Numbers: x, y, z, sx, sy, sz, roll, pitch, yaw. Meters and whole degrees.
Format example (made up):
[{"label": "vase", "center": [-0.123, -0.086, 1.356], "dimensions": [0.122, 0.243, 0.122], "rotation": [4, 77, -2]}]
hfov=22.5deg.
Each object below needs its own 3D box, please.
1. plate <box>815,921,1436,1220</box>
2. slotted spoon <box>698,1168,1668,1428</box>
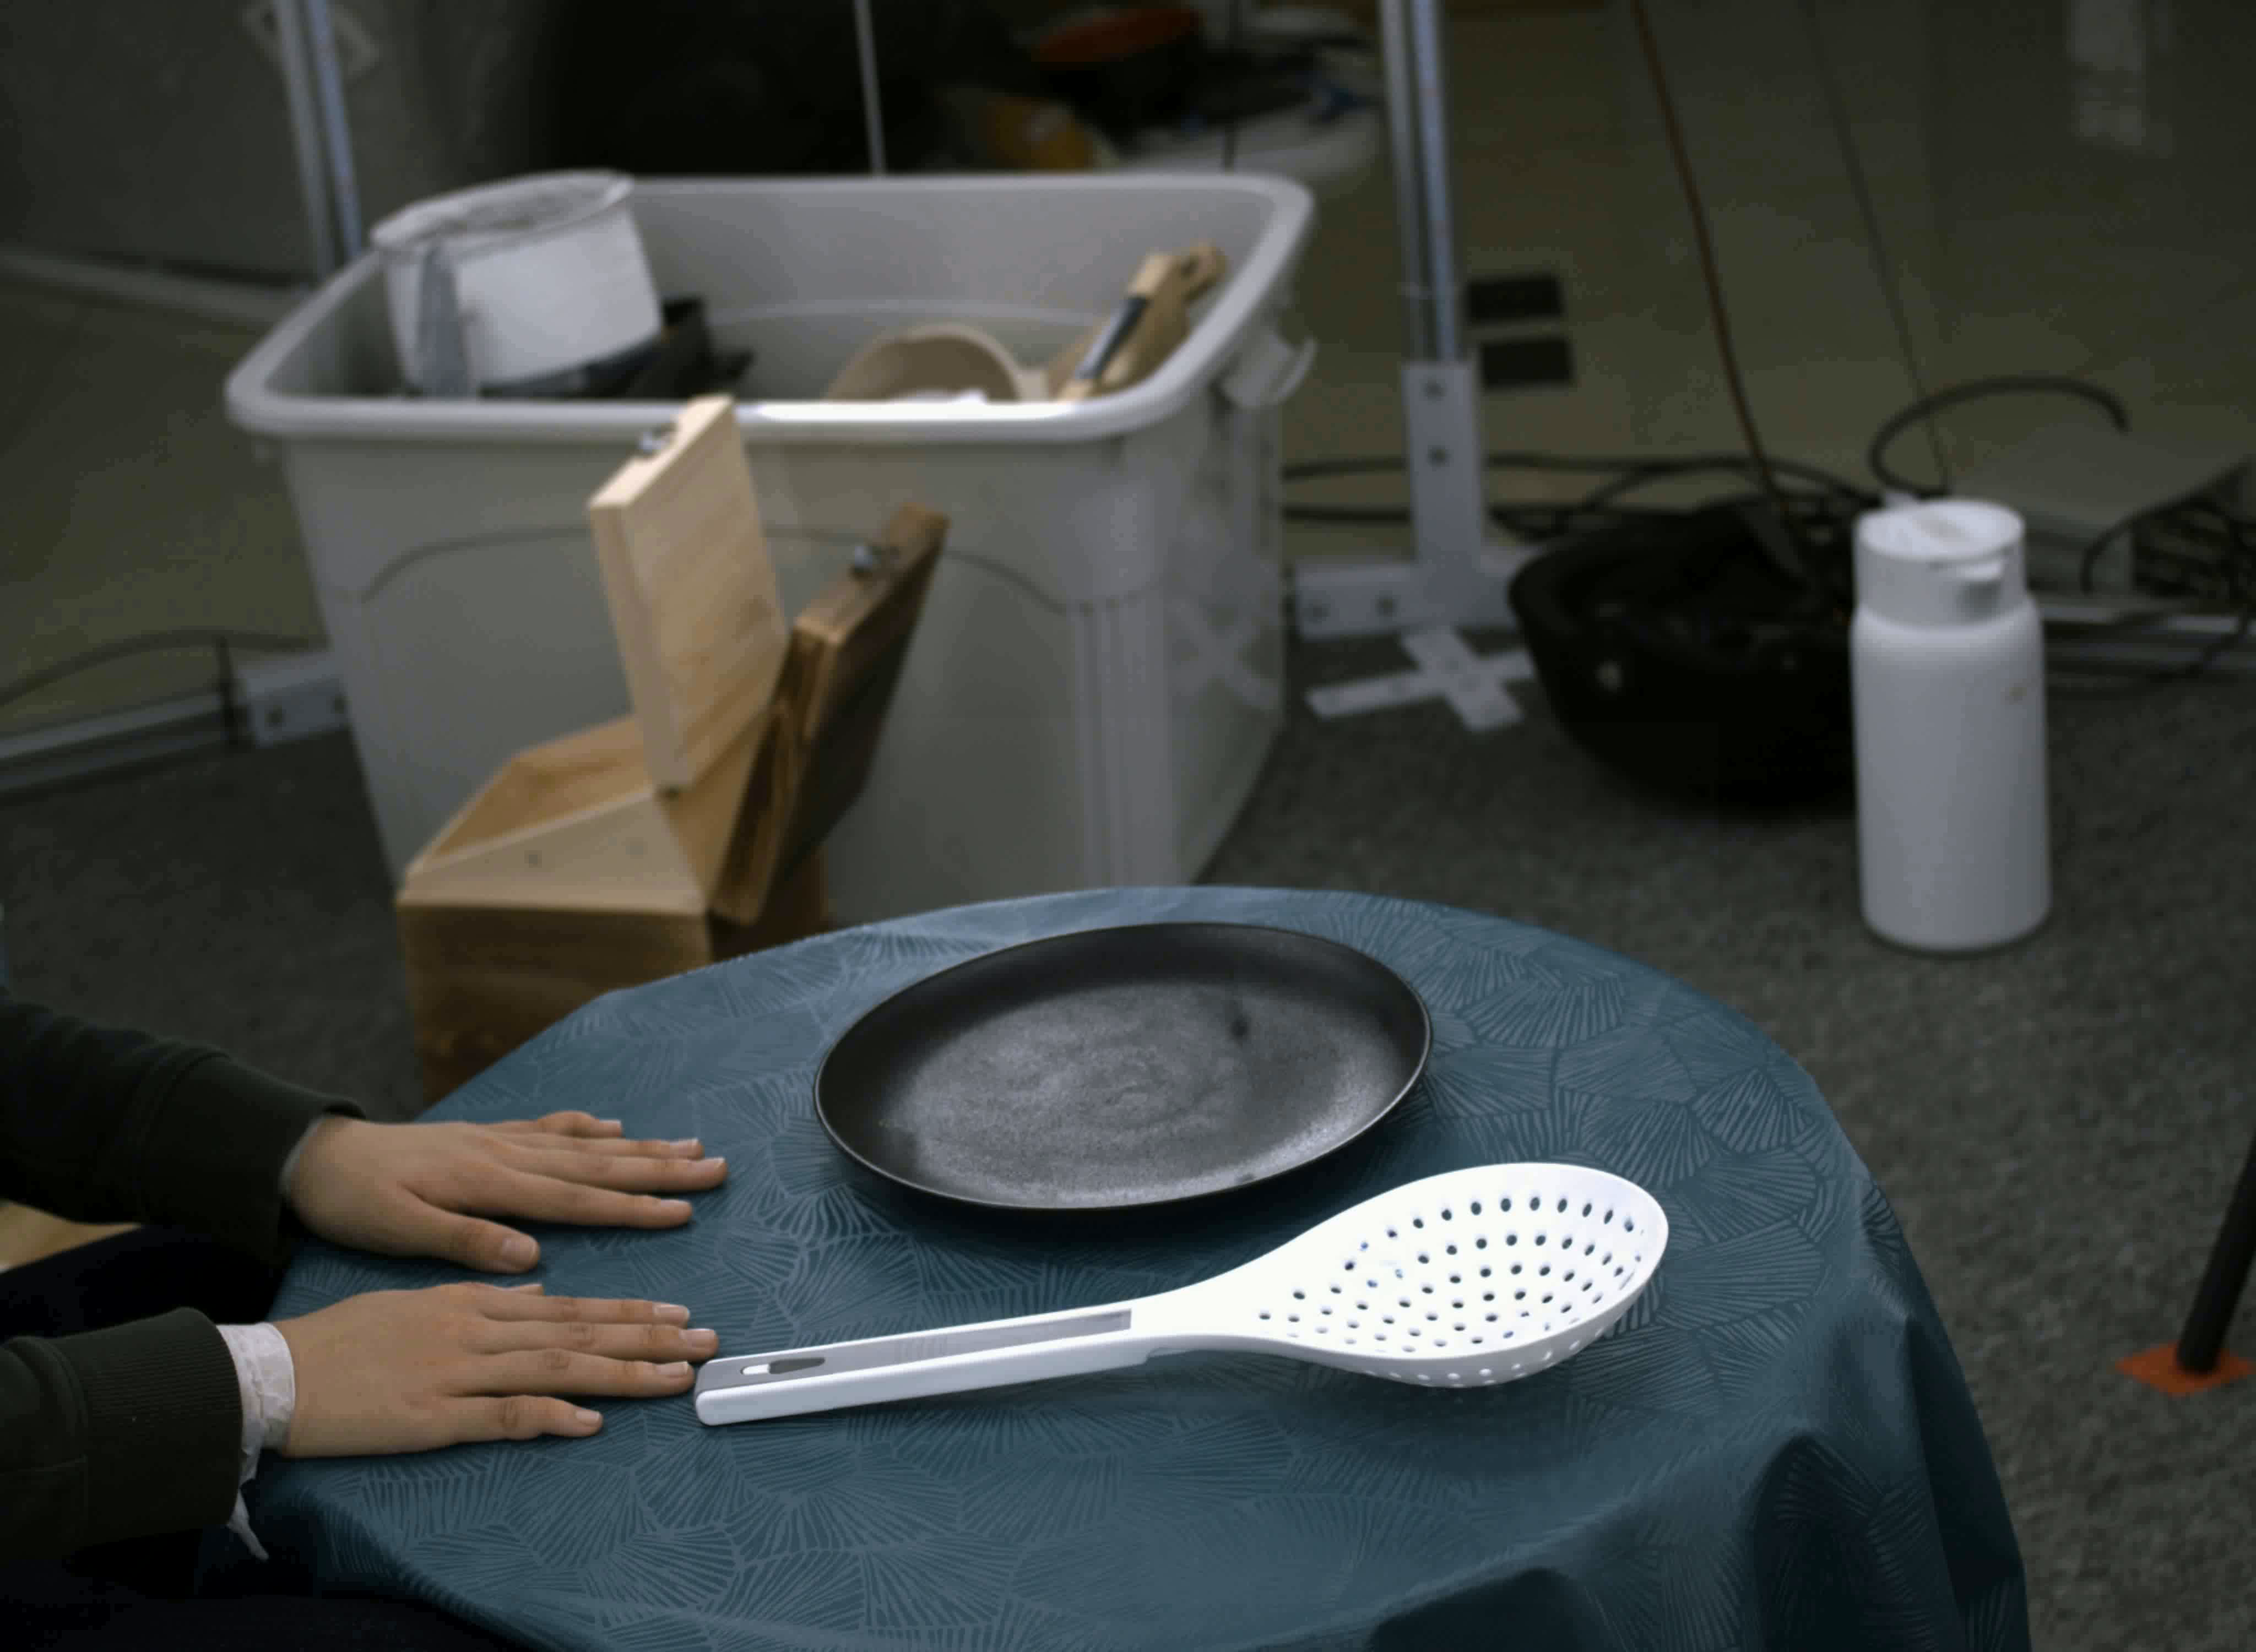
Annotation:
[{"label": "plate", "center": [0.000, 0.100, 2.209], "dimensions": [0.244, 0.024, 0.241], "rotation": [-6, 25, 3]}, {"label": "slotted spoon", "center": [0.018, 0.177, 2.013], "dimensions": [0.349, 0.046, 0.134], "rotation": [-5, 23, 5]}]
